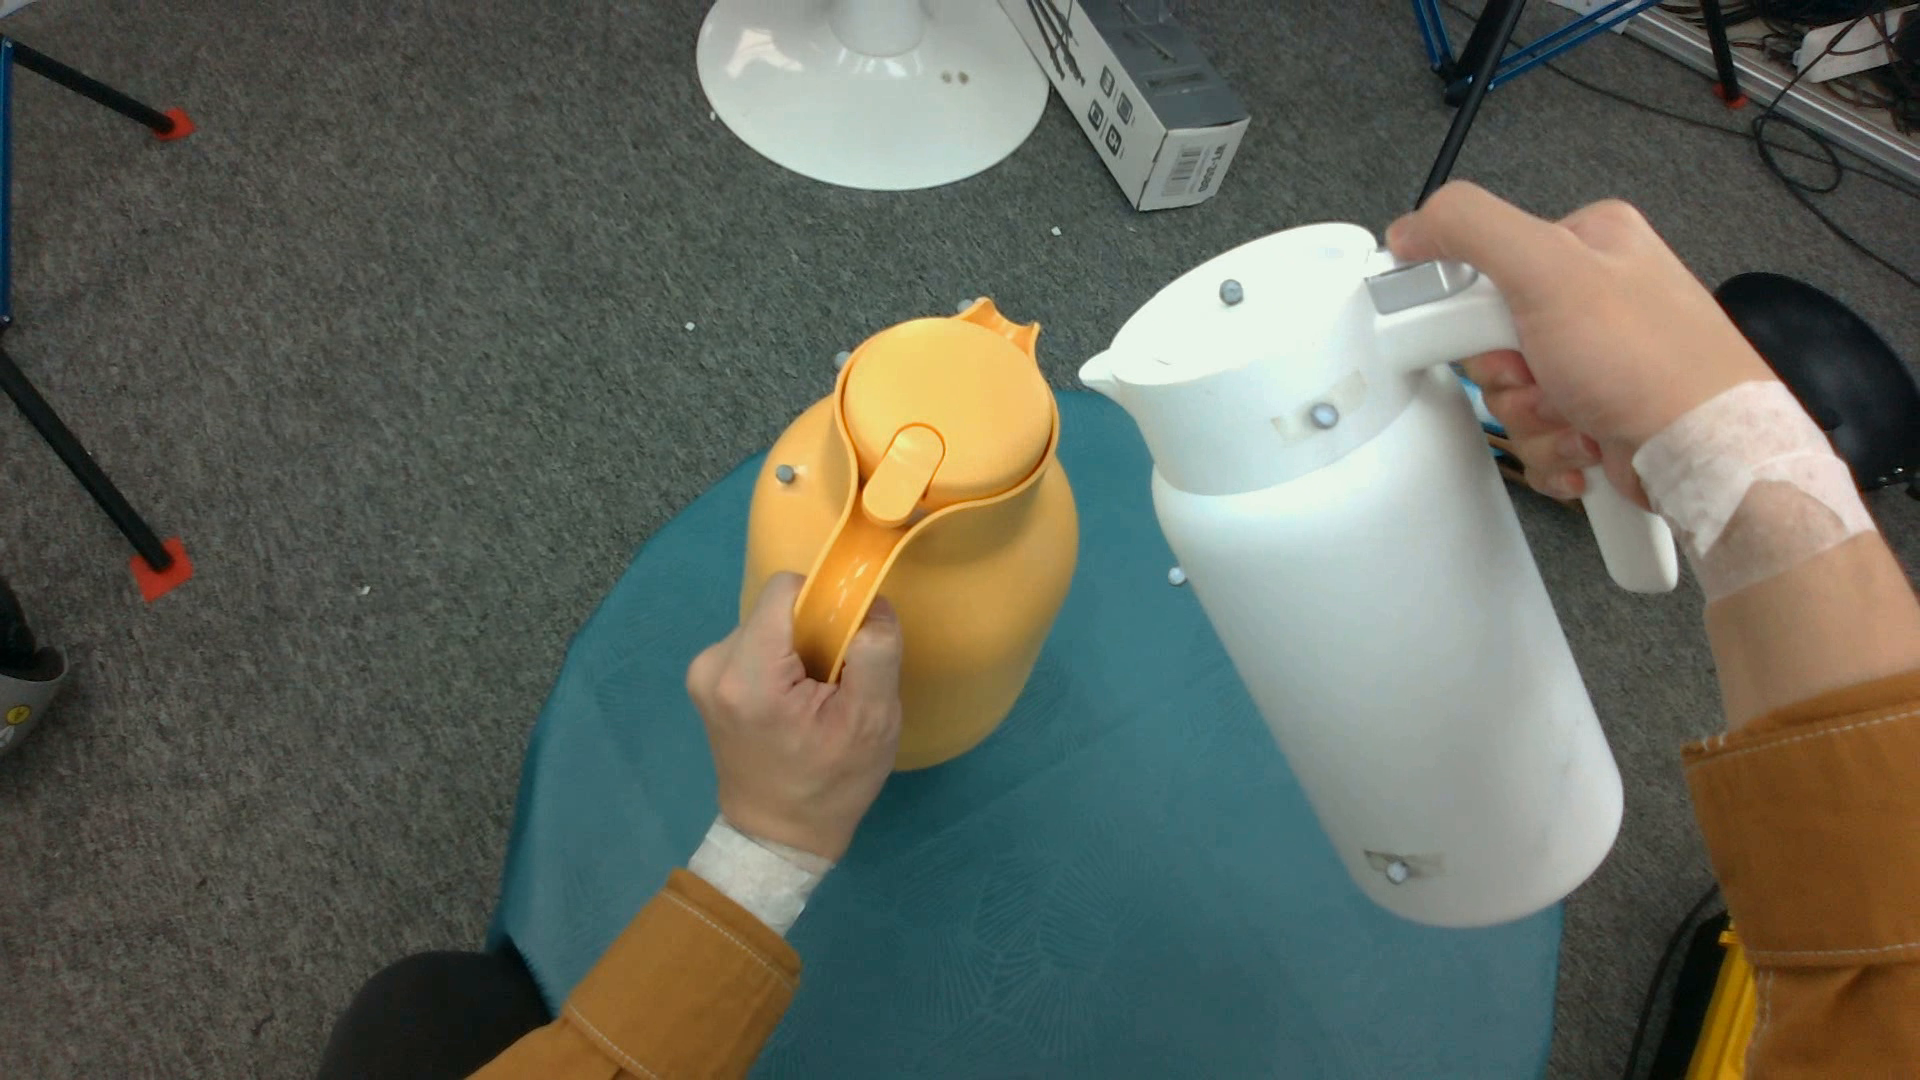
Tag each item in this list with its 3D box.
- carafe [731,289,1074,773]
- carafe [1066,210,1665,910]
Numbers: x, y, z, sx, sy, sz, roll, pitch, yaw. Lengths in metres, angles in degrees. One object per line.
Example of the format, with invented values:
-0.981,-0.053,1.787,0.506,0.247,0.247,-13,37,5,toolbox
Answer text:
-0.037,0.012,0.667,0.163,0.259,0.203,28,56,8,carafe
0.170,0.009,0.521,0.172,0.268,0.124,-13,28,36,carafe
